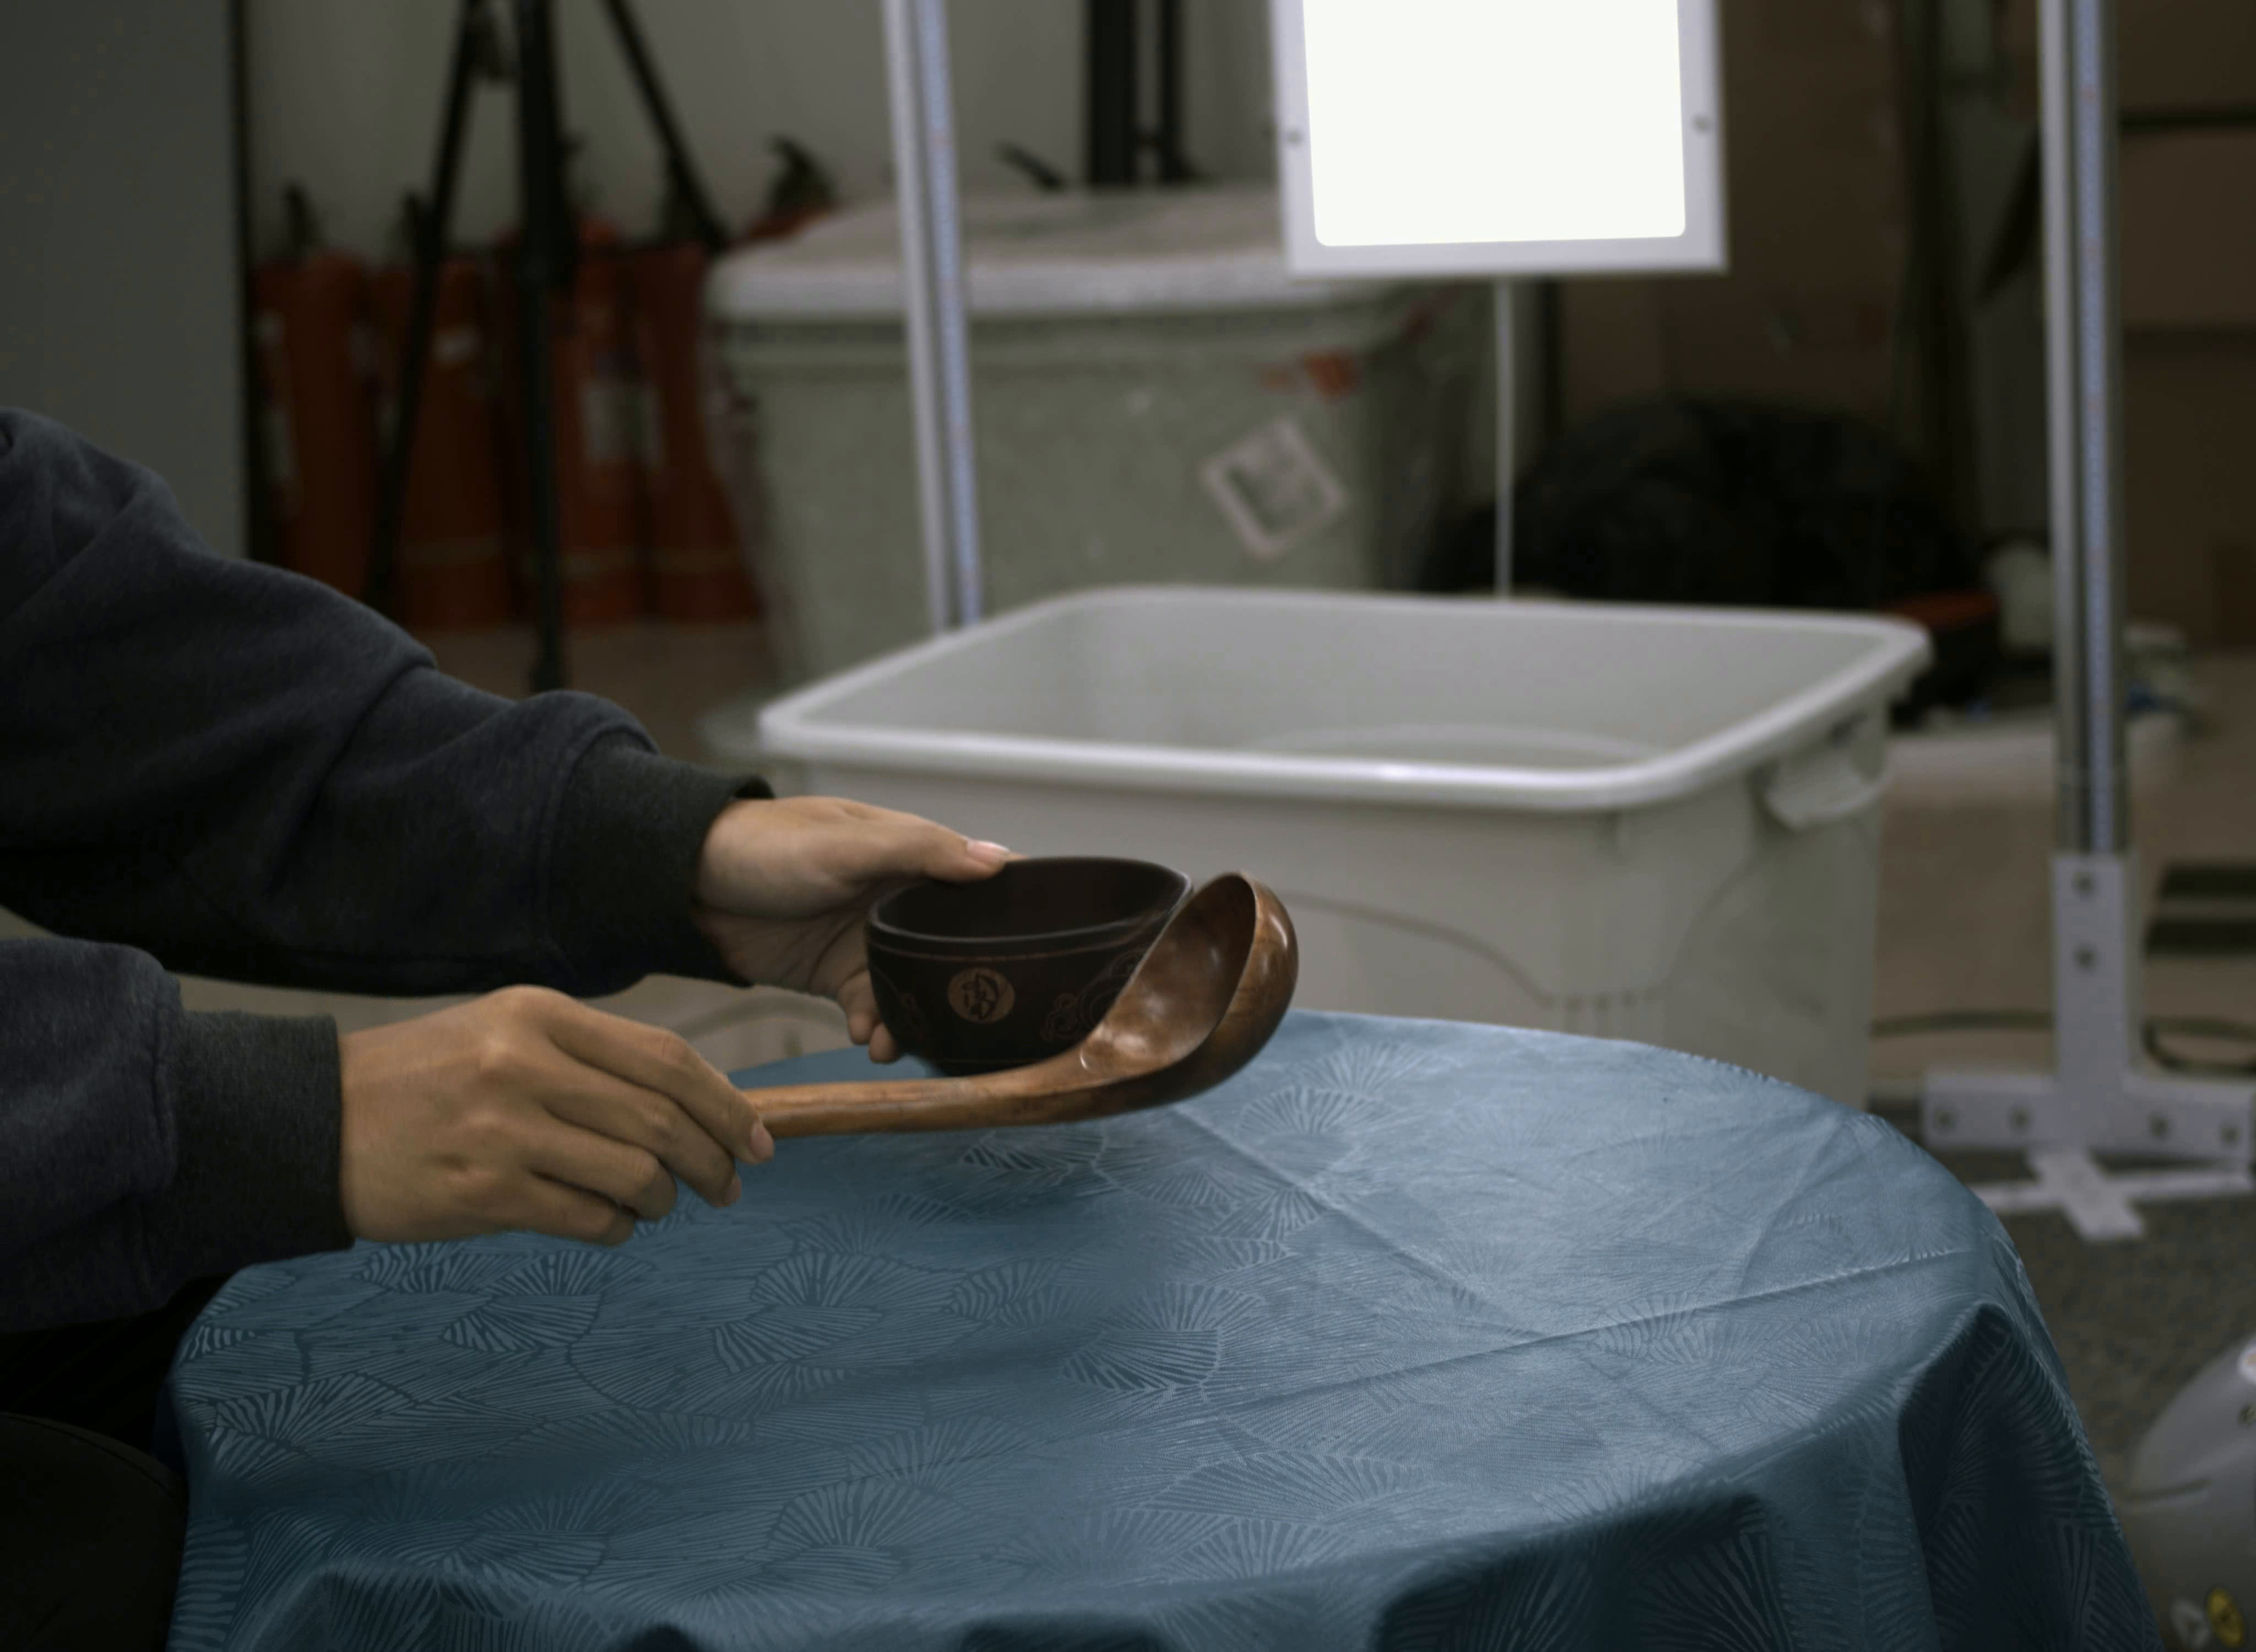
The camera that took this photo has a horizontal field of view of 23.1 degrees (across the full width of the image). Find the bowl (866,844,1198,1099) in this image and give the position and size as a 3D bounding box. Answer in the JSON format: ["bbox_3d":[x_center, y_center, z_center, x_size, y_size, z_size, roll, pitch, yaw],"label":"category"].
[{"bbox_3d":[-0.032,0.054,1.932,0.118,0.070,0.118,-5,14,0],"label":"bowl"}]

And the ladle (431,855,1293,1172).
[{"bbox_3d":[-0.081,0.057,1.710,0.271,0.077,0.082,-5,14,-11],"label":"ladle"}]
